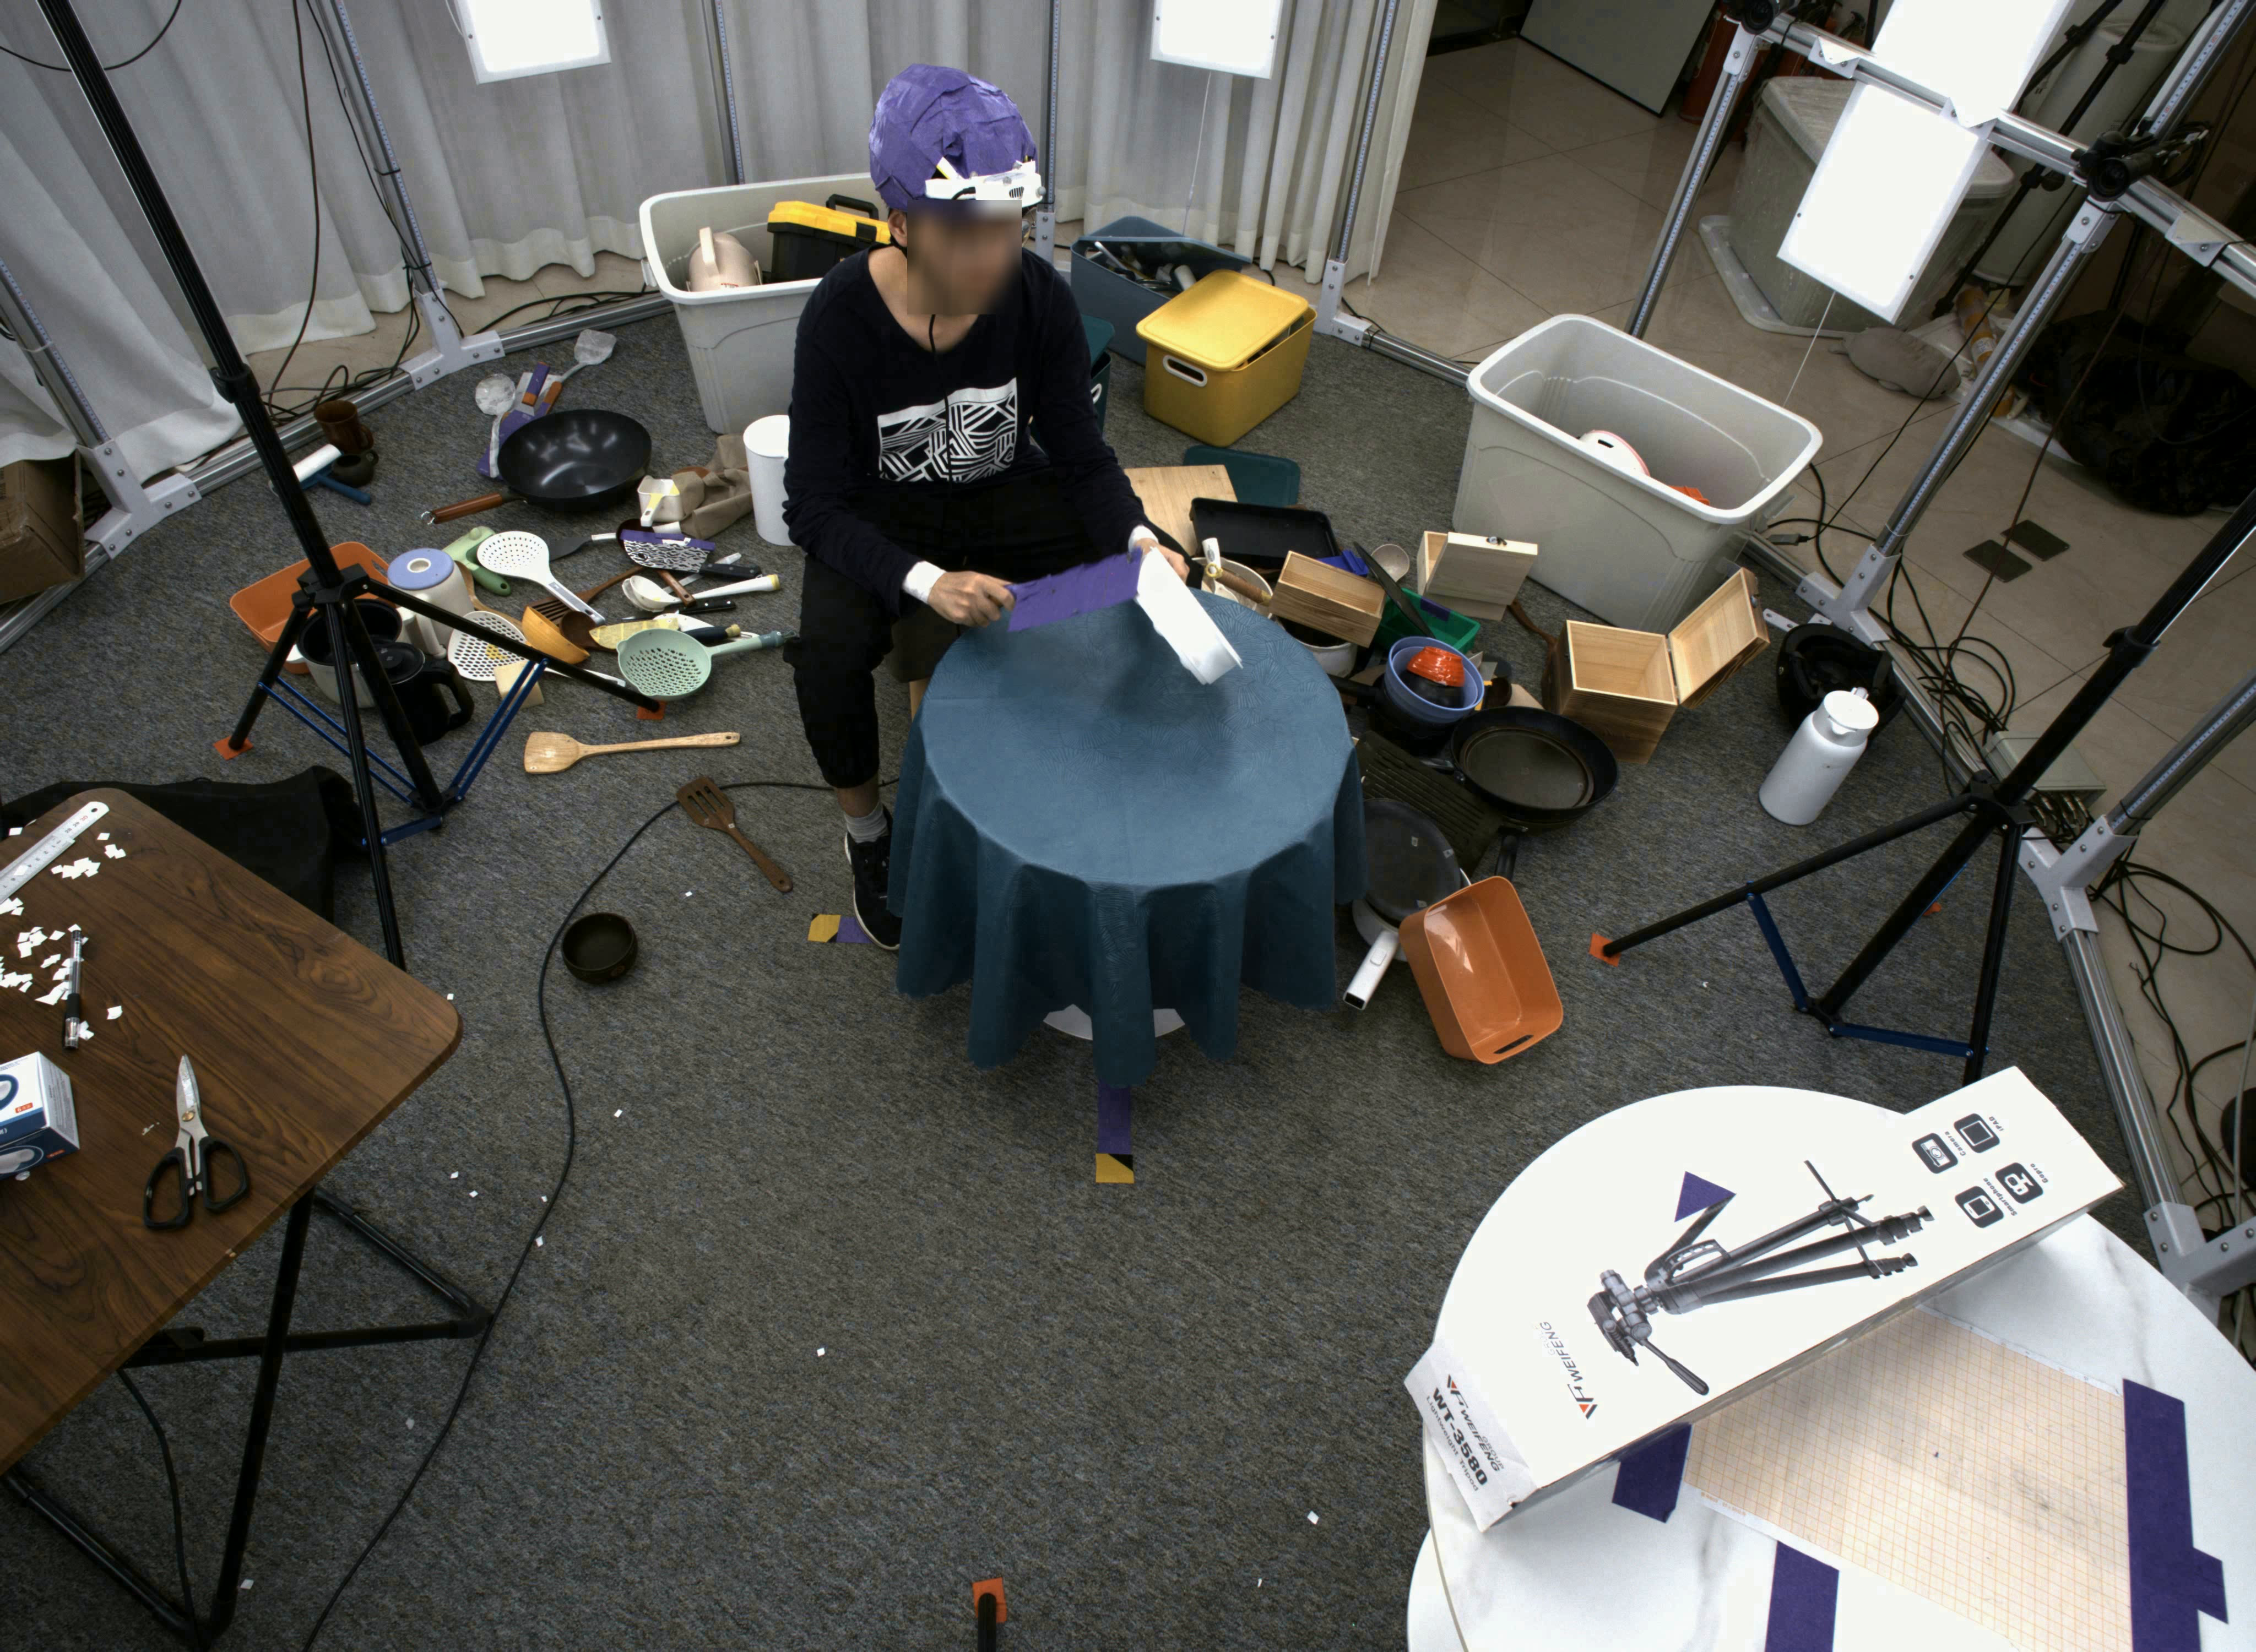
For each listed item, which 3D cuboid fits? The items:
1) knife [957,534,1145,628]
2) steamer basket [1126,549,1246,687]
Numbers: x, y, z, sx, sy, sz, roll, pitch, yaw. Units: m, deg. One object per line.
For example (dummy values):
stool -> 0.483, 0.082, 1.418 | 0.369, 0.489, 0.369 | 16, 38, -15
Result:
knife -> -0.115, -0.323, 1.785 | 0.314, 0.031, 0.106 | -14, 49, 31
steamer basket -> 0.073, -0.281, 1.762 | 0.069, 0.198, 0.235 | -38, 59, 7
